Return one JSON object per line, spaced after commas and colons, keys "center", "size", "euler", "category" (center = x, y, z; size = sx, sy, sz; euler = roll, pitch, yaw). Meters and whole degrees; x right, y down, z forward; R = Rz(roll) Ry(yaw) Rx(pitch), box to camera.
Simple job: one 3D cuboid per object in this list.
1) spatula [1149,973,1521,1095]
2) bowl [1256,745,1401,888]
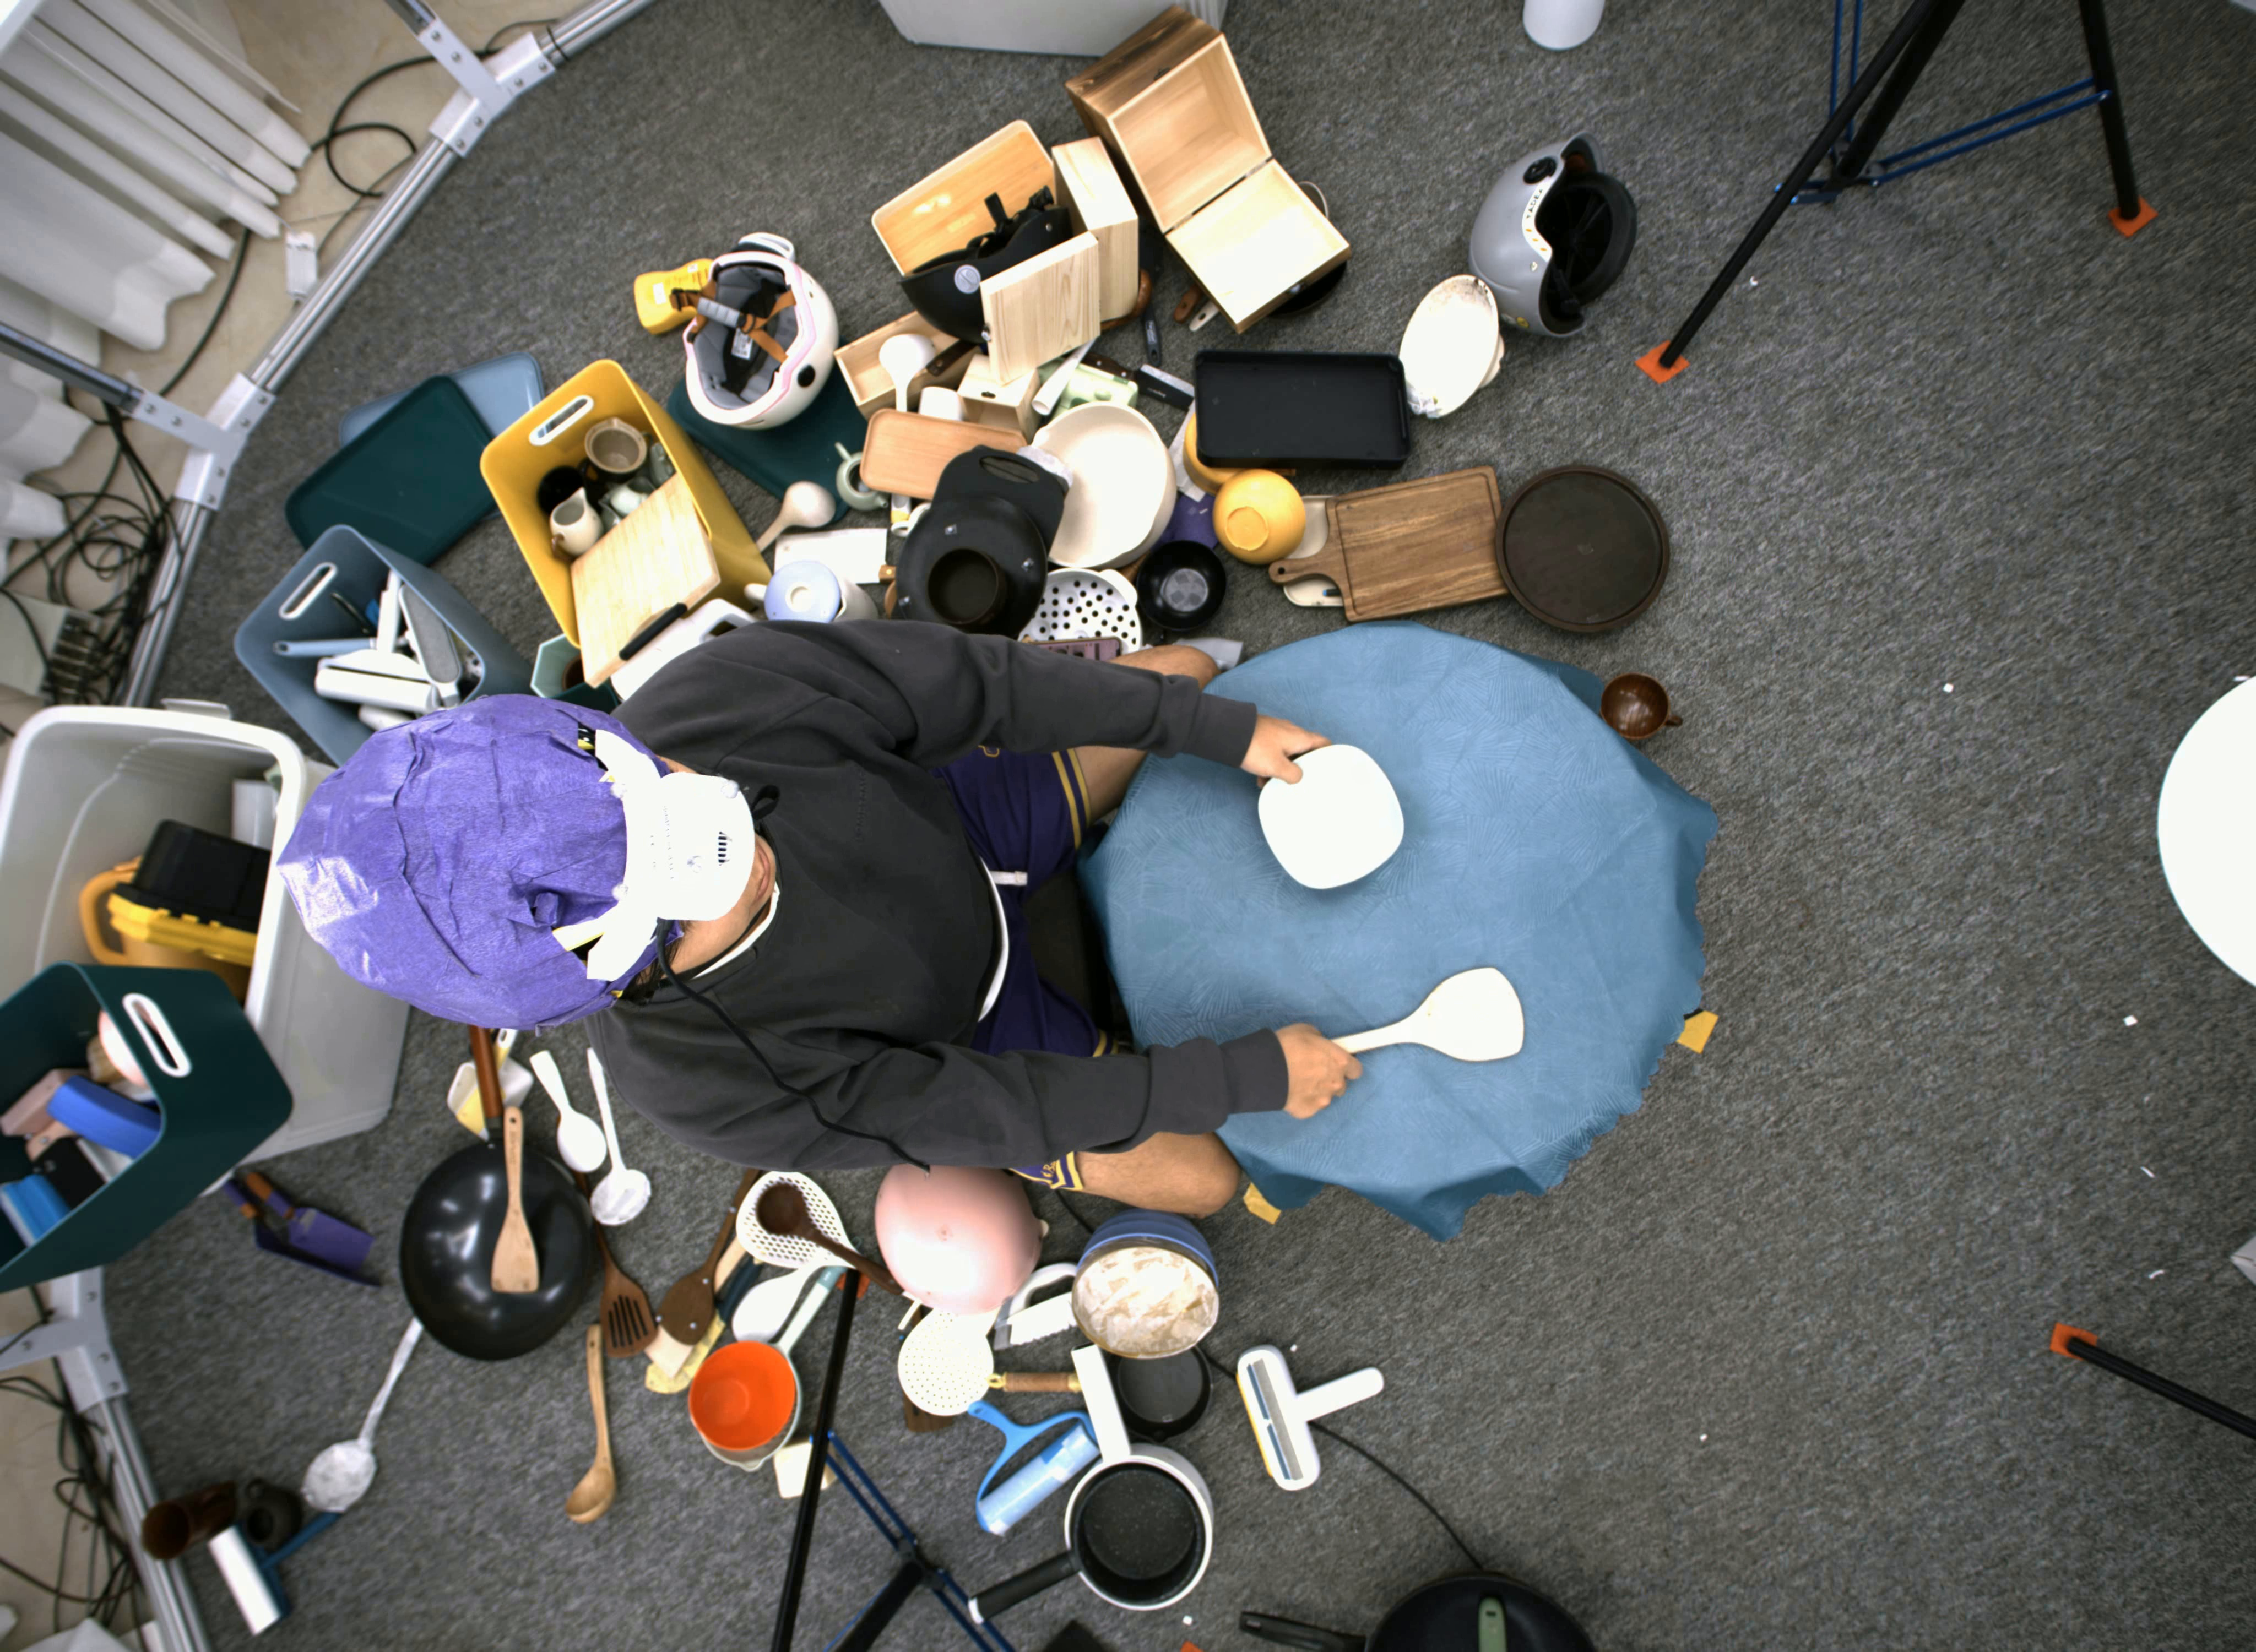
{"center": [0.214, 0.233, 1.443], "size": [0.392, 0.018, 0.095], "euler": [-13, 82, 5], "category": "spatula"}
{"center": [0.209, -0.009, 1.445], "size": [0.152, 0.058, 0.151], "euler": [0, 88, 8], "category": "bowl"}
